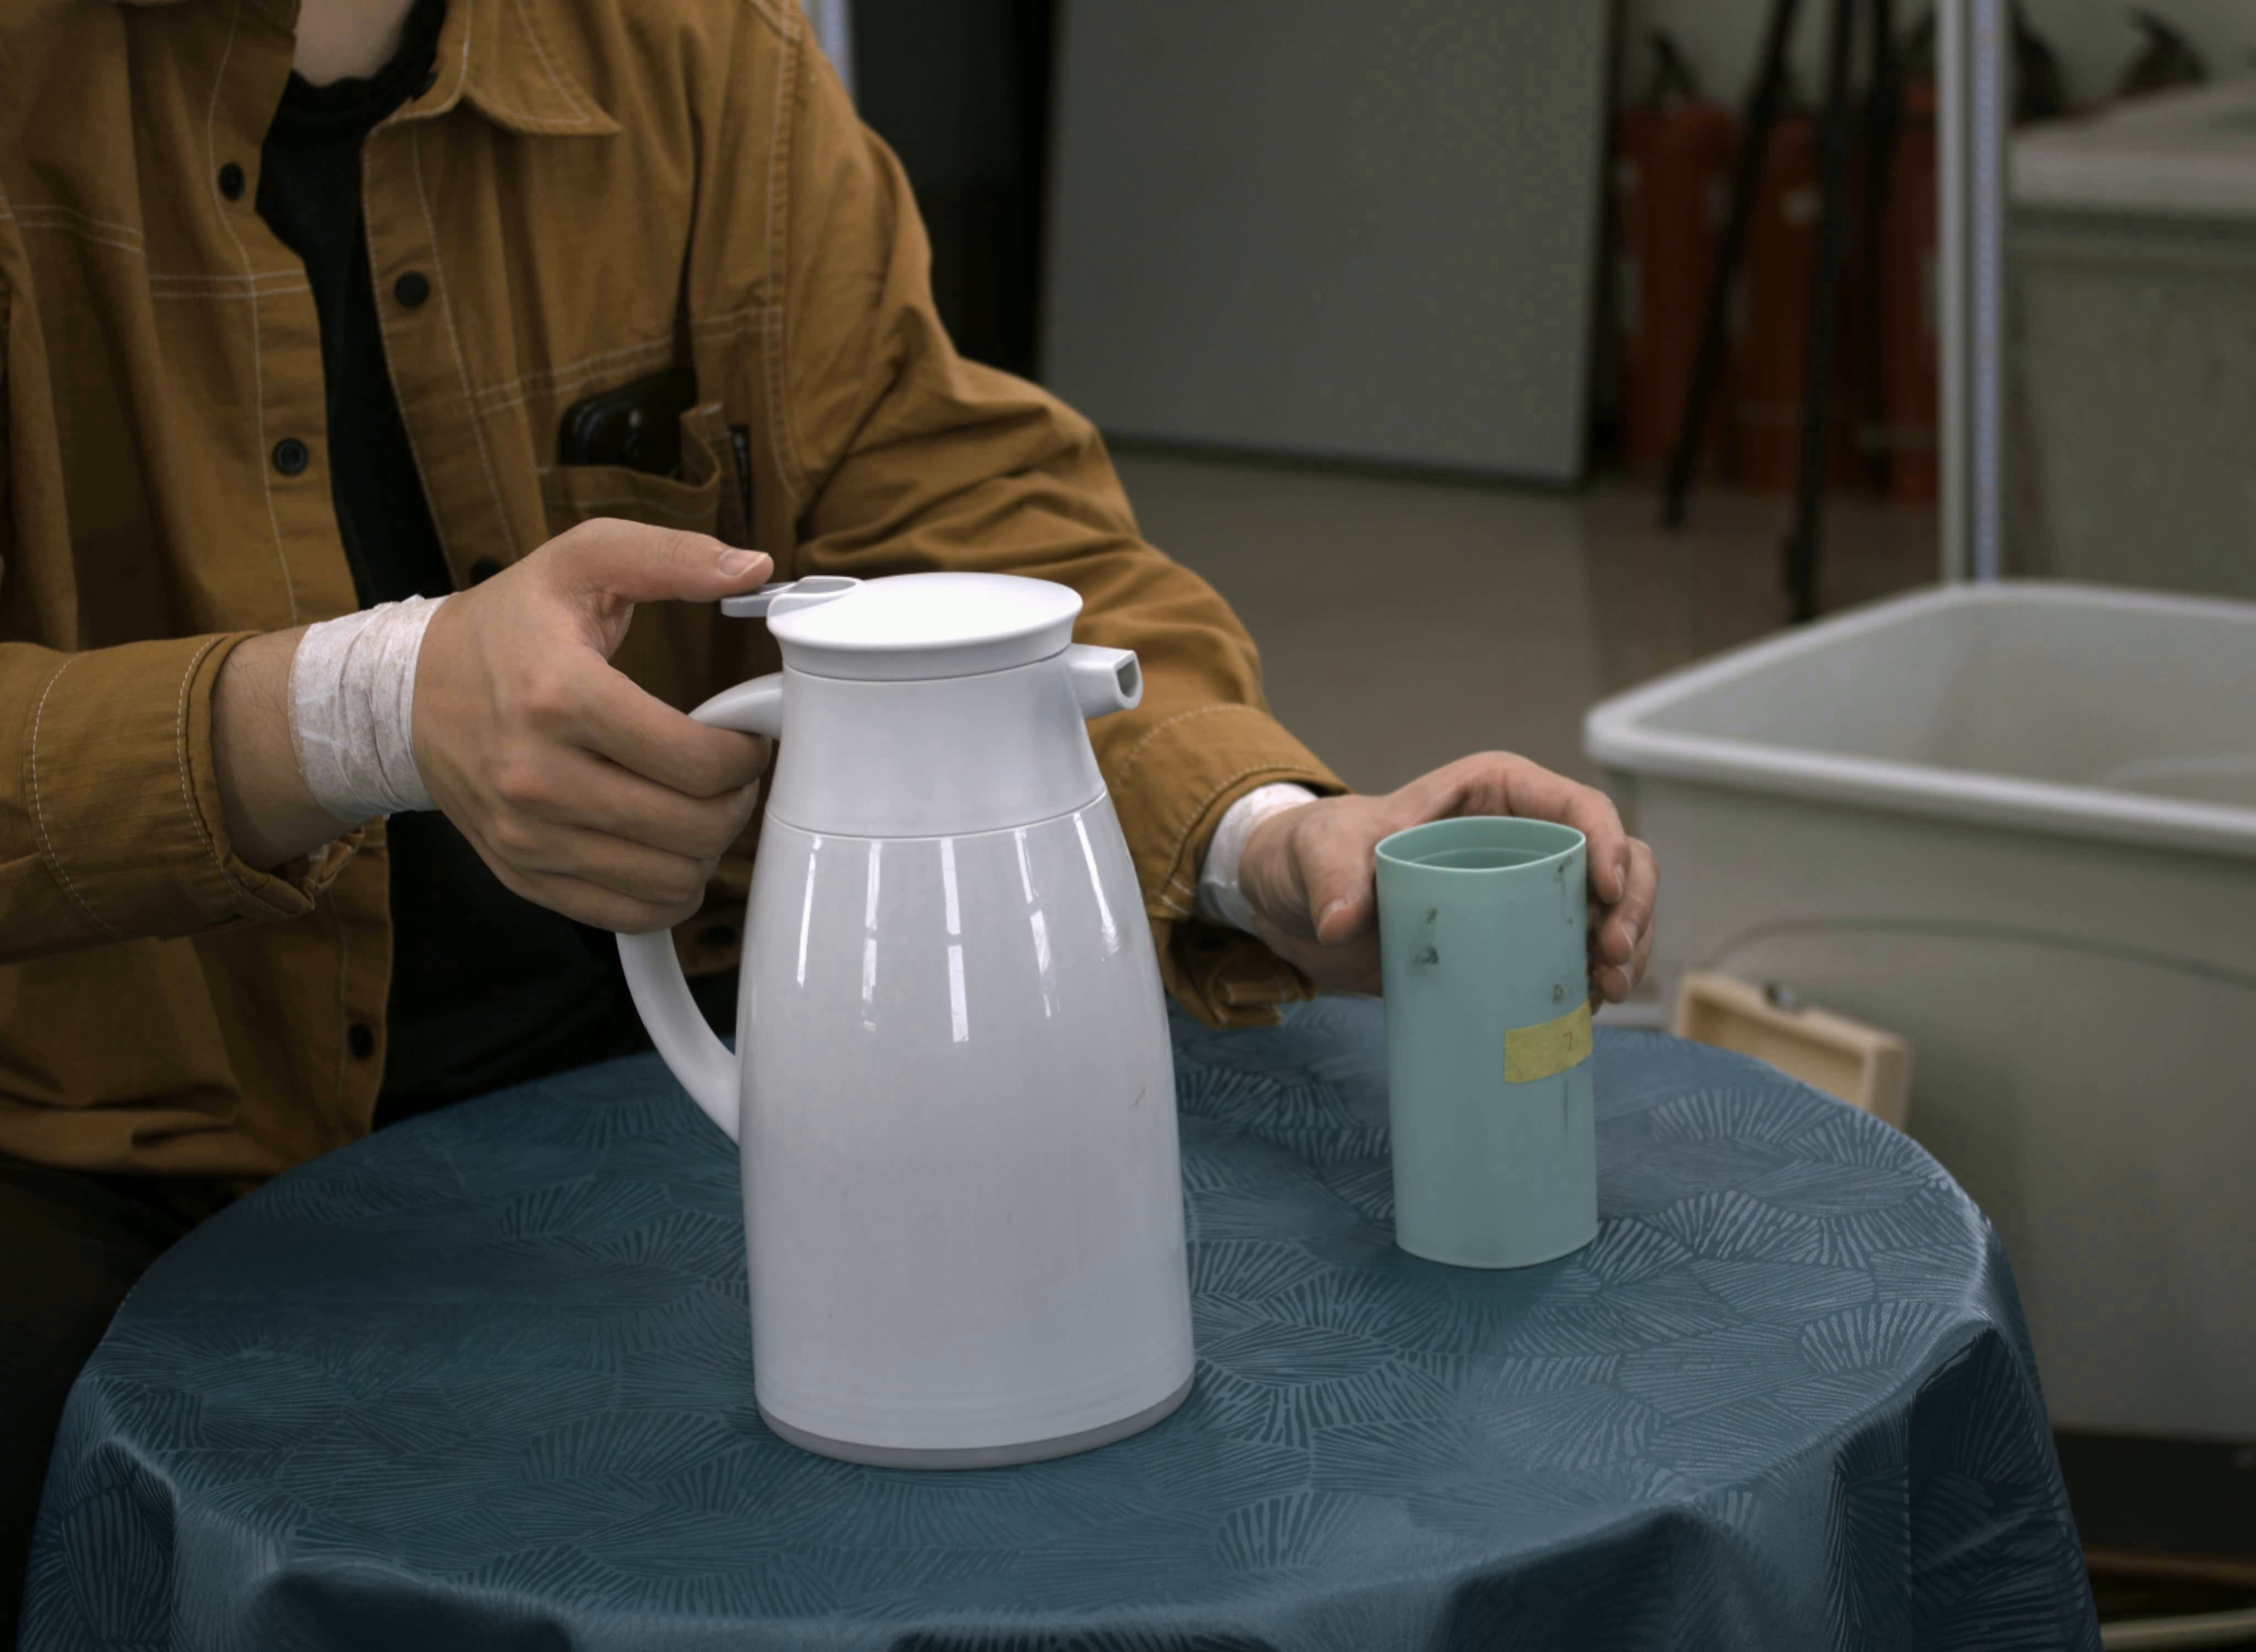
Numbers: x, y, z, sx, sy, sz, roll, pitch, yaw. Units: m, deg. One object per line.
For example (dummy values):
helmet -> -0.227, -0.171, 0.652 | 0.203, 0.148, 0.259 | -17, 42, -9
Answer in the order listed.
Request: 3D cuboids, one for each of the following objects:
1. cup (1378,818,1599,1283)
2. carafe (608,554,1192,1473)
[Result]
cup -> 0.113, 0.069, 1.689 | 0.066, 0.134, 0.067 | -3, 14, 0
carafe -> -0.071, 0.047, 1.575 | 0.167, 0.251, 0.131 | 1, 14, 20
